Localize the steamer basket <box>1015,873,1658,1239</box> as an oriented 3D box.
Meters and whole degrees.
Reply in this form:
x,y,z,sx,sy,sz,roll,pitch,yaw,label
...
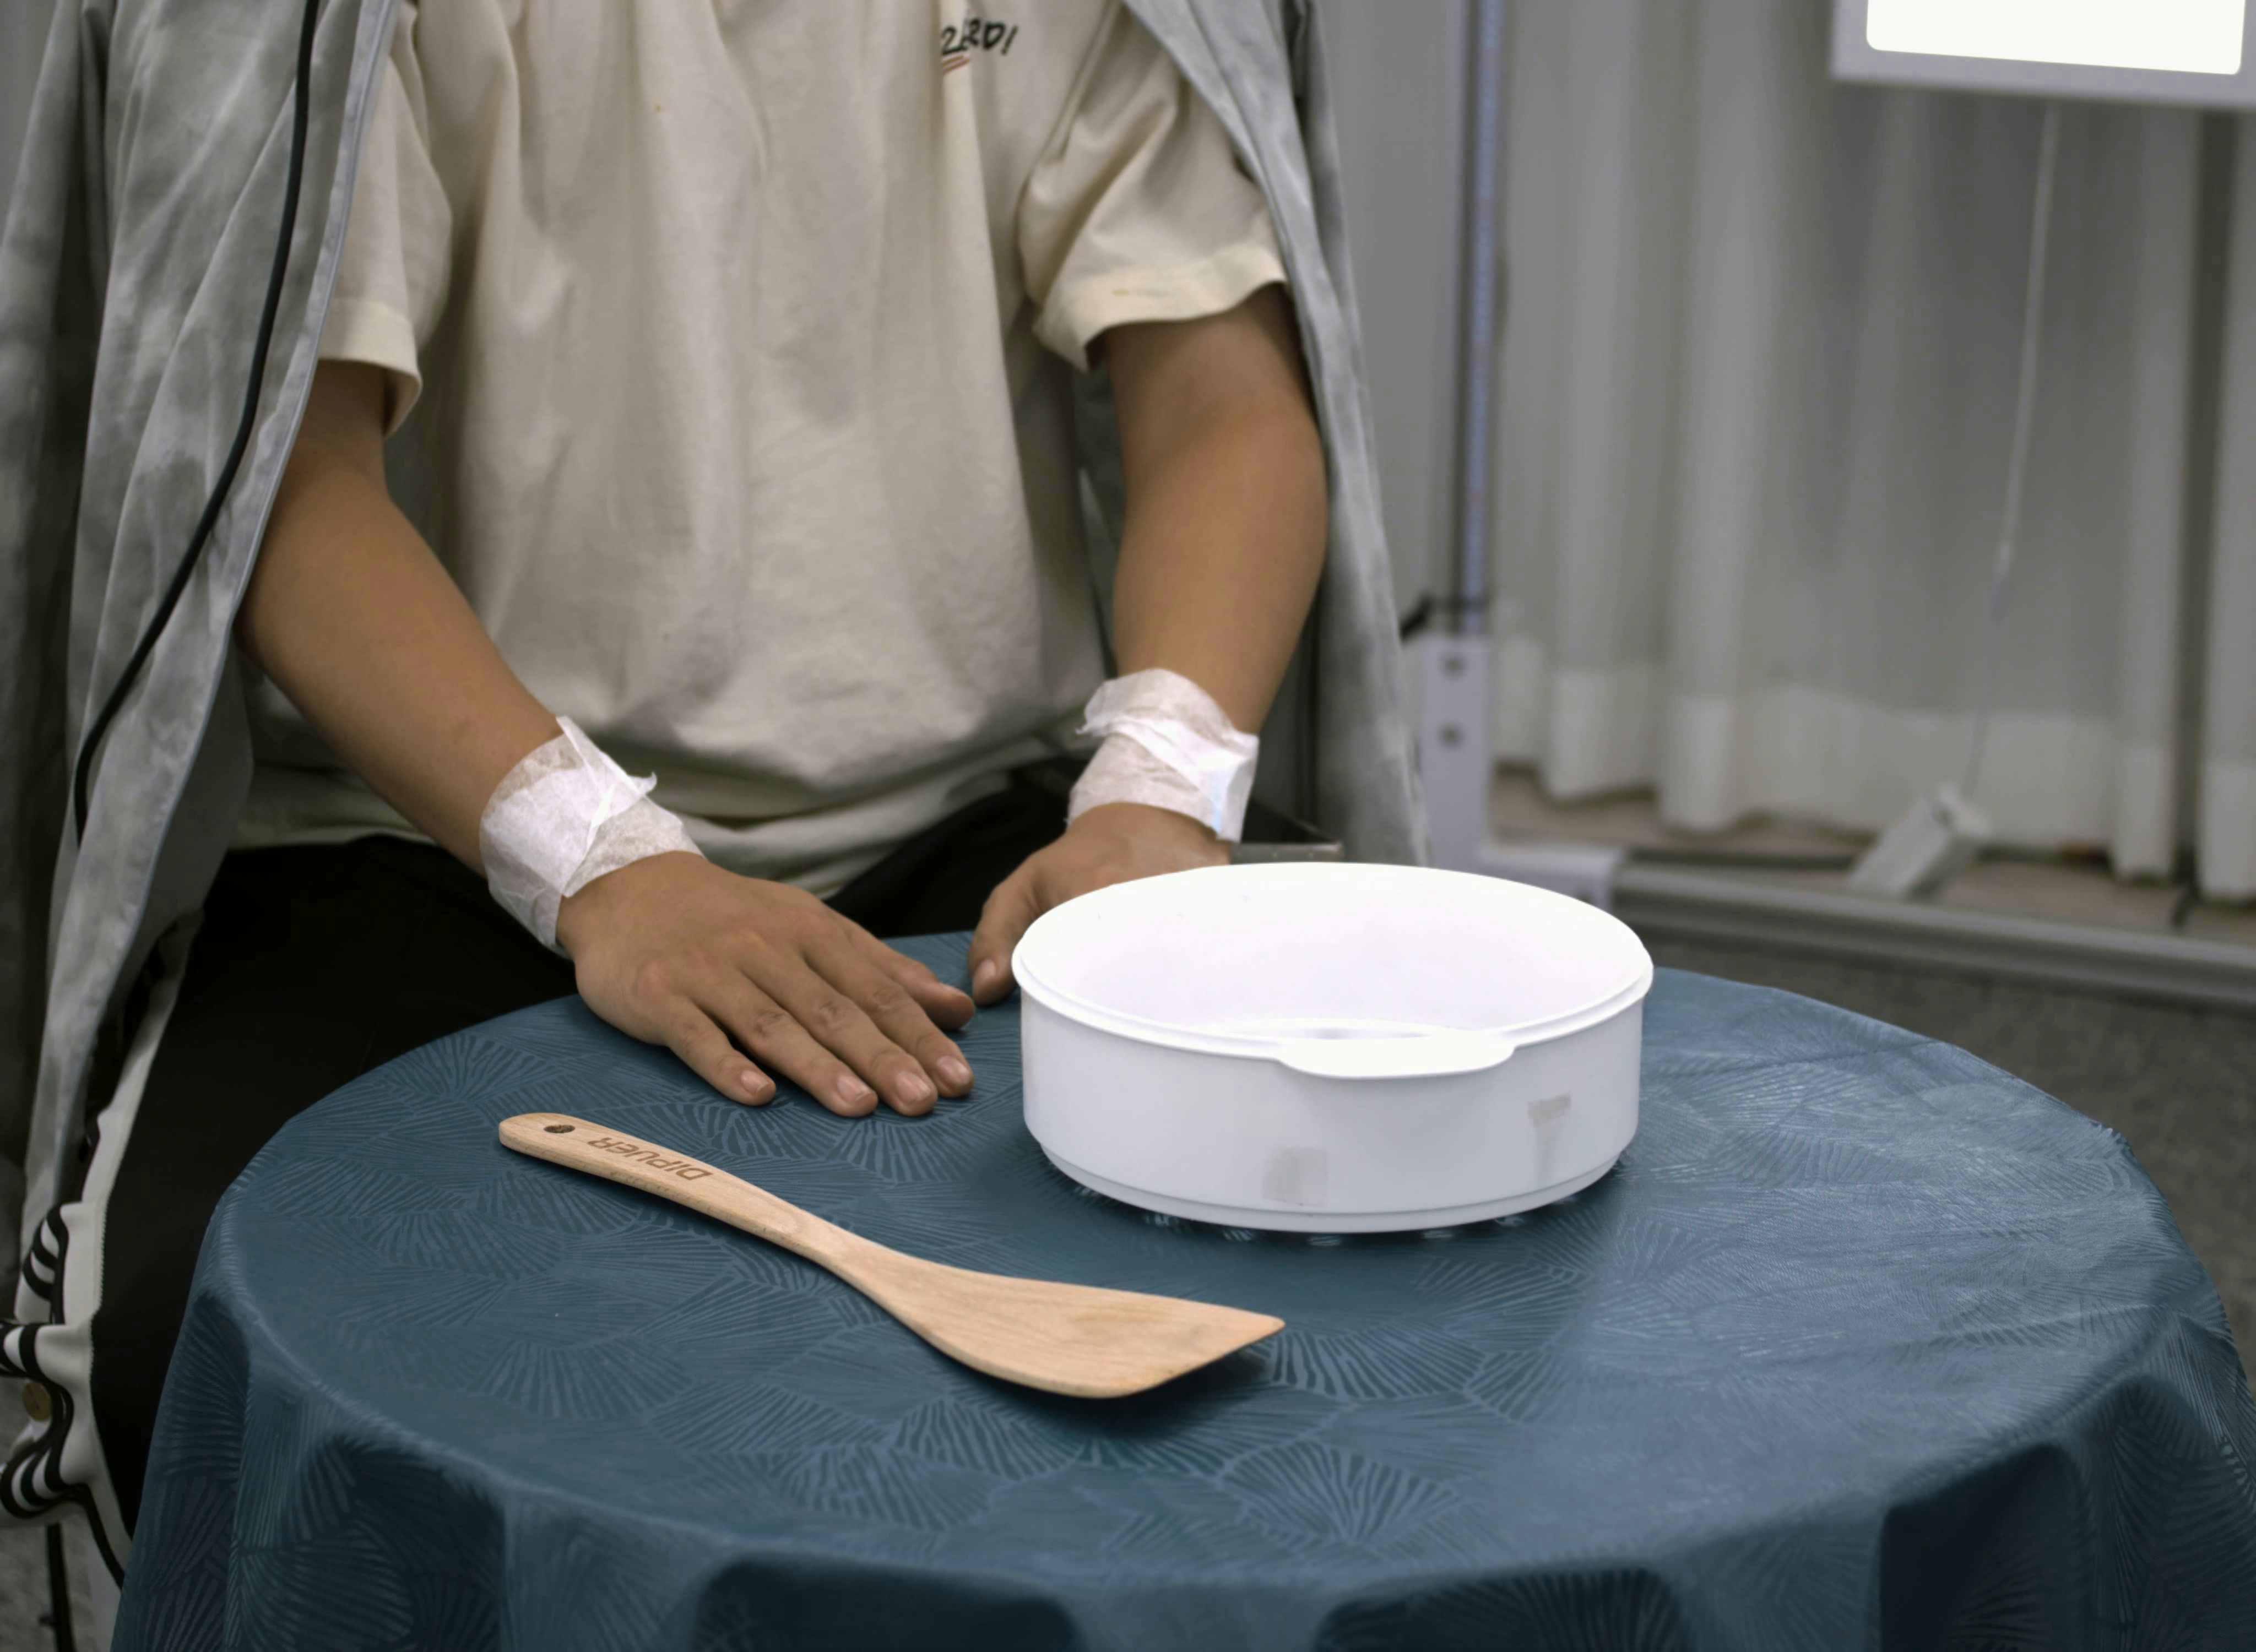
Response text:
x,y,z,sx,sy,sz,roll,pitch,yaw,label
0.064,0.072,1.652,0.202,0.070,0.228,-1,15,-10,steamer basket

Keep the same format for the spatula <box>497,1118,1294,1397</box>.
x,y,z,sx,sy,sz,roll,pitch,yaw,label
-0.082,0.122,1.555,0.080,0.016,0.323,-13,20,-42,spatula
